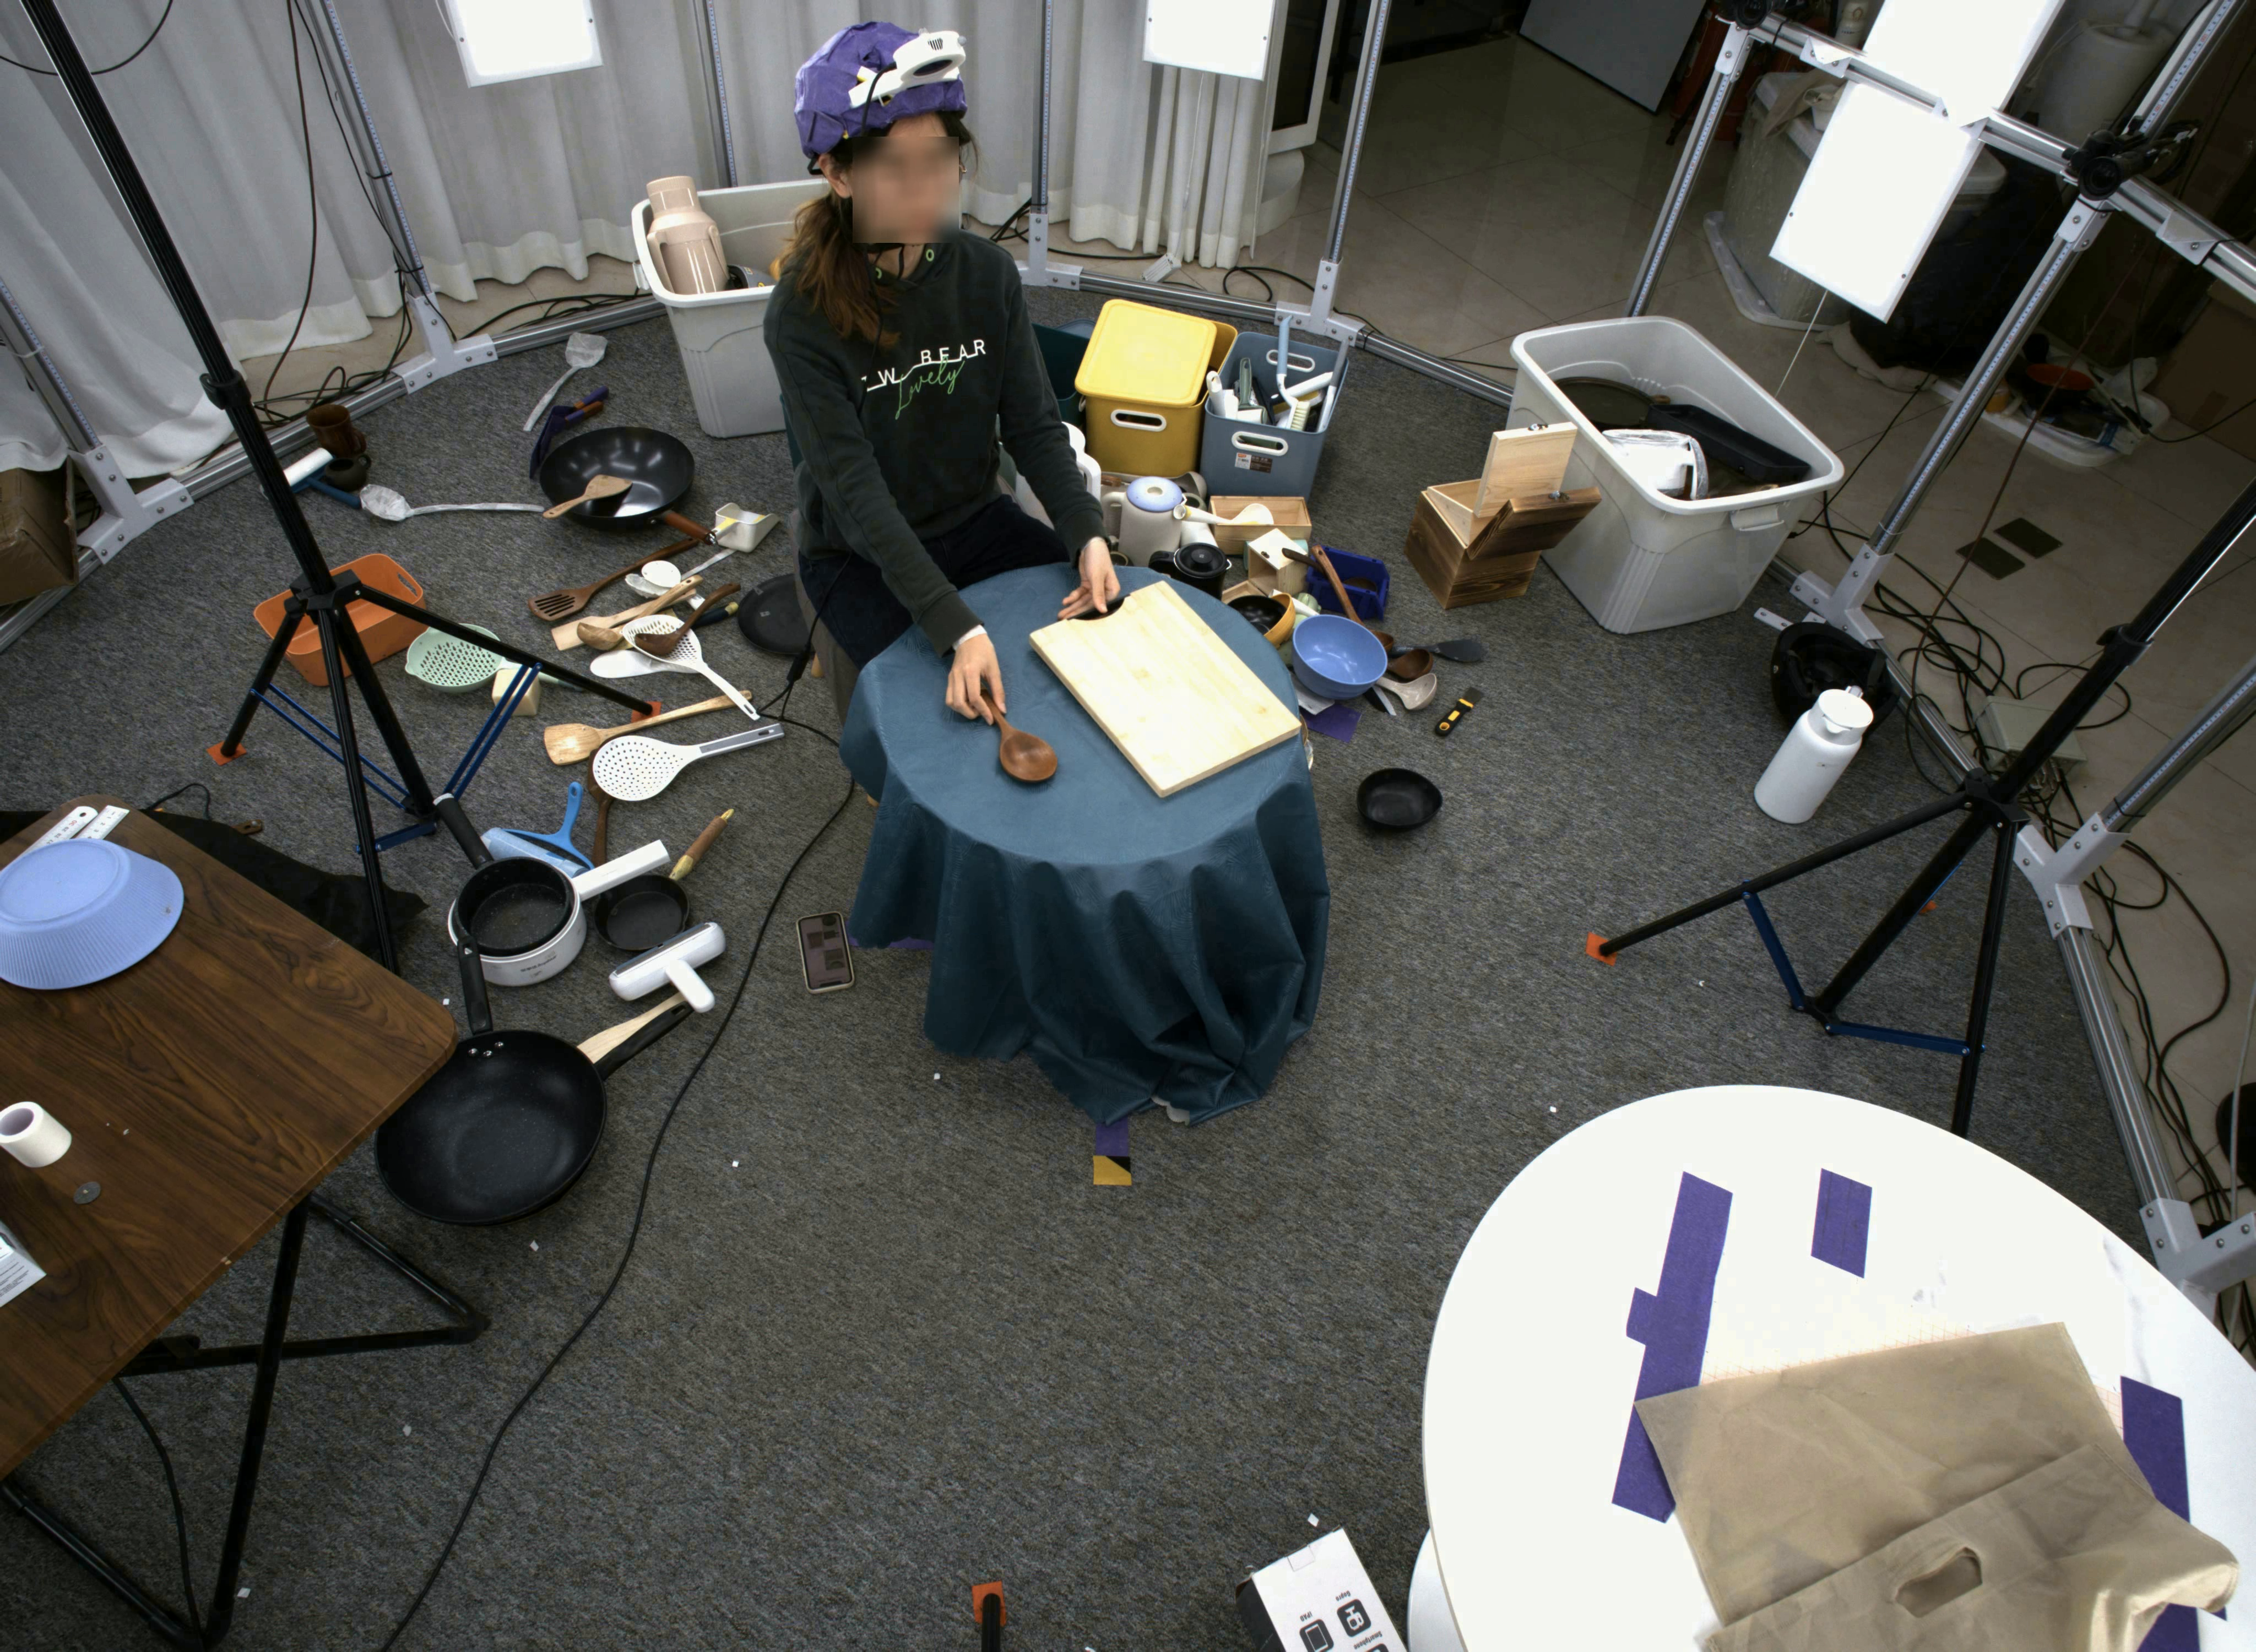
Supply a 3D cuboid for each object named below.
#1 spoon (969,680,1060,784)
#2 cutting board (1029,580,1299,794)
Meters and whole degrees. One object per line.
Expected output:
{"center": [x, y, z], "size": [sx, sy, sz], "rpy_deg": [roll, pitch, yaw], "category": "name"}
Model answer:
{"center": [-0.165, -0.132, 1.776], "size": [0.076, 0.017, 0.220], "rpy_deg": [-23, 55, -20], "category": "spoon"}
{"center": [0.047, -0.209, 1.851], "size": [0.252, 0.023, 0.355], "rpy_deg": [-25, 57, -24], "category": "cutting board"}
